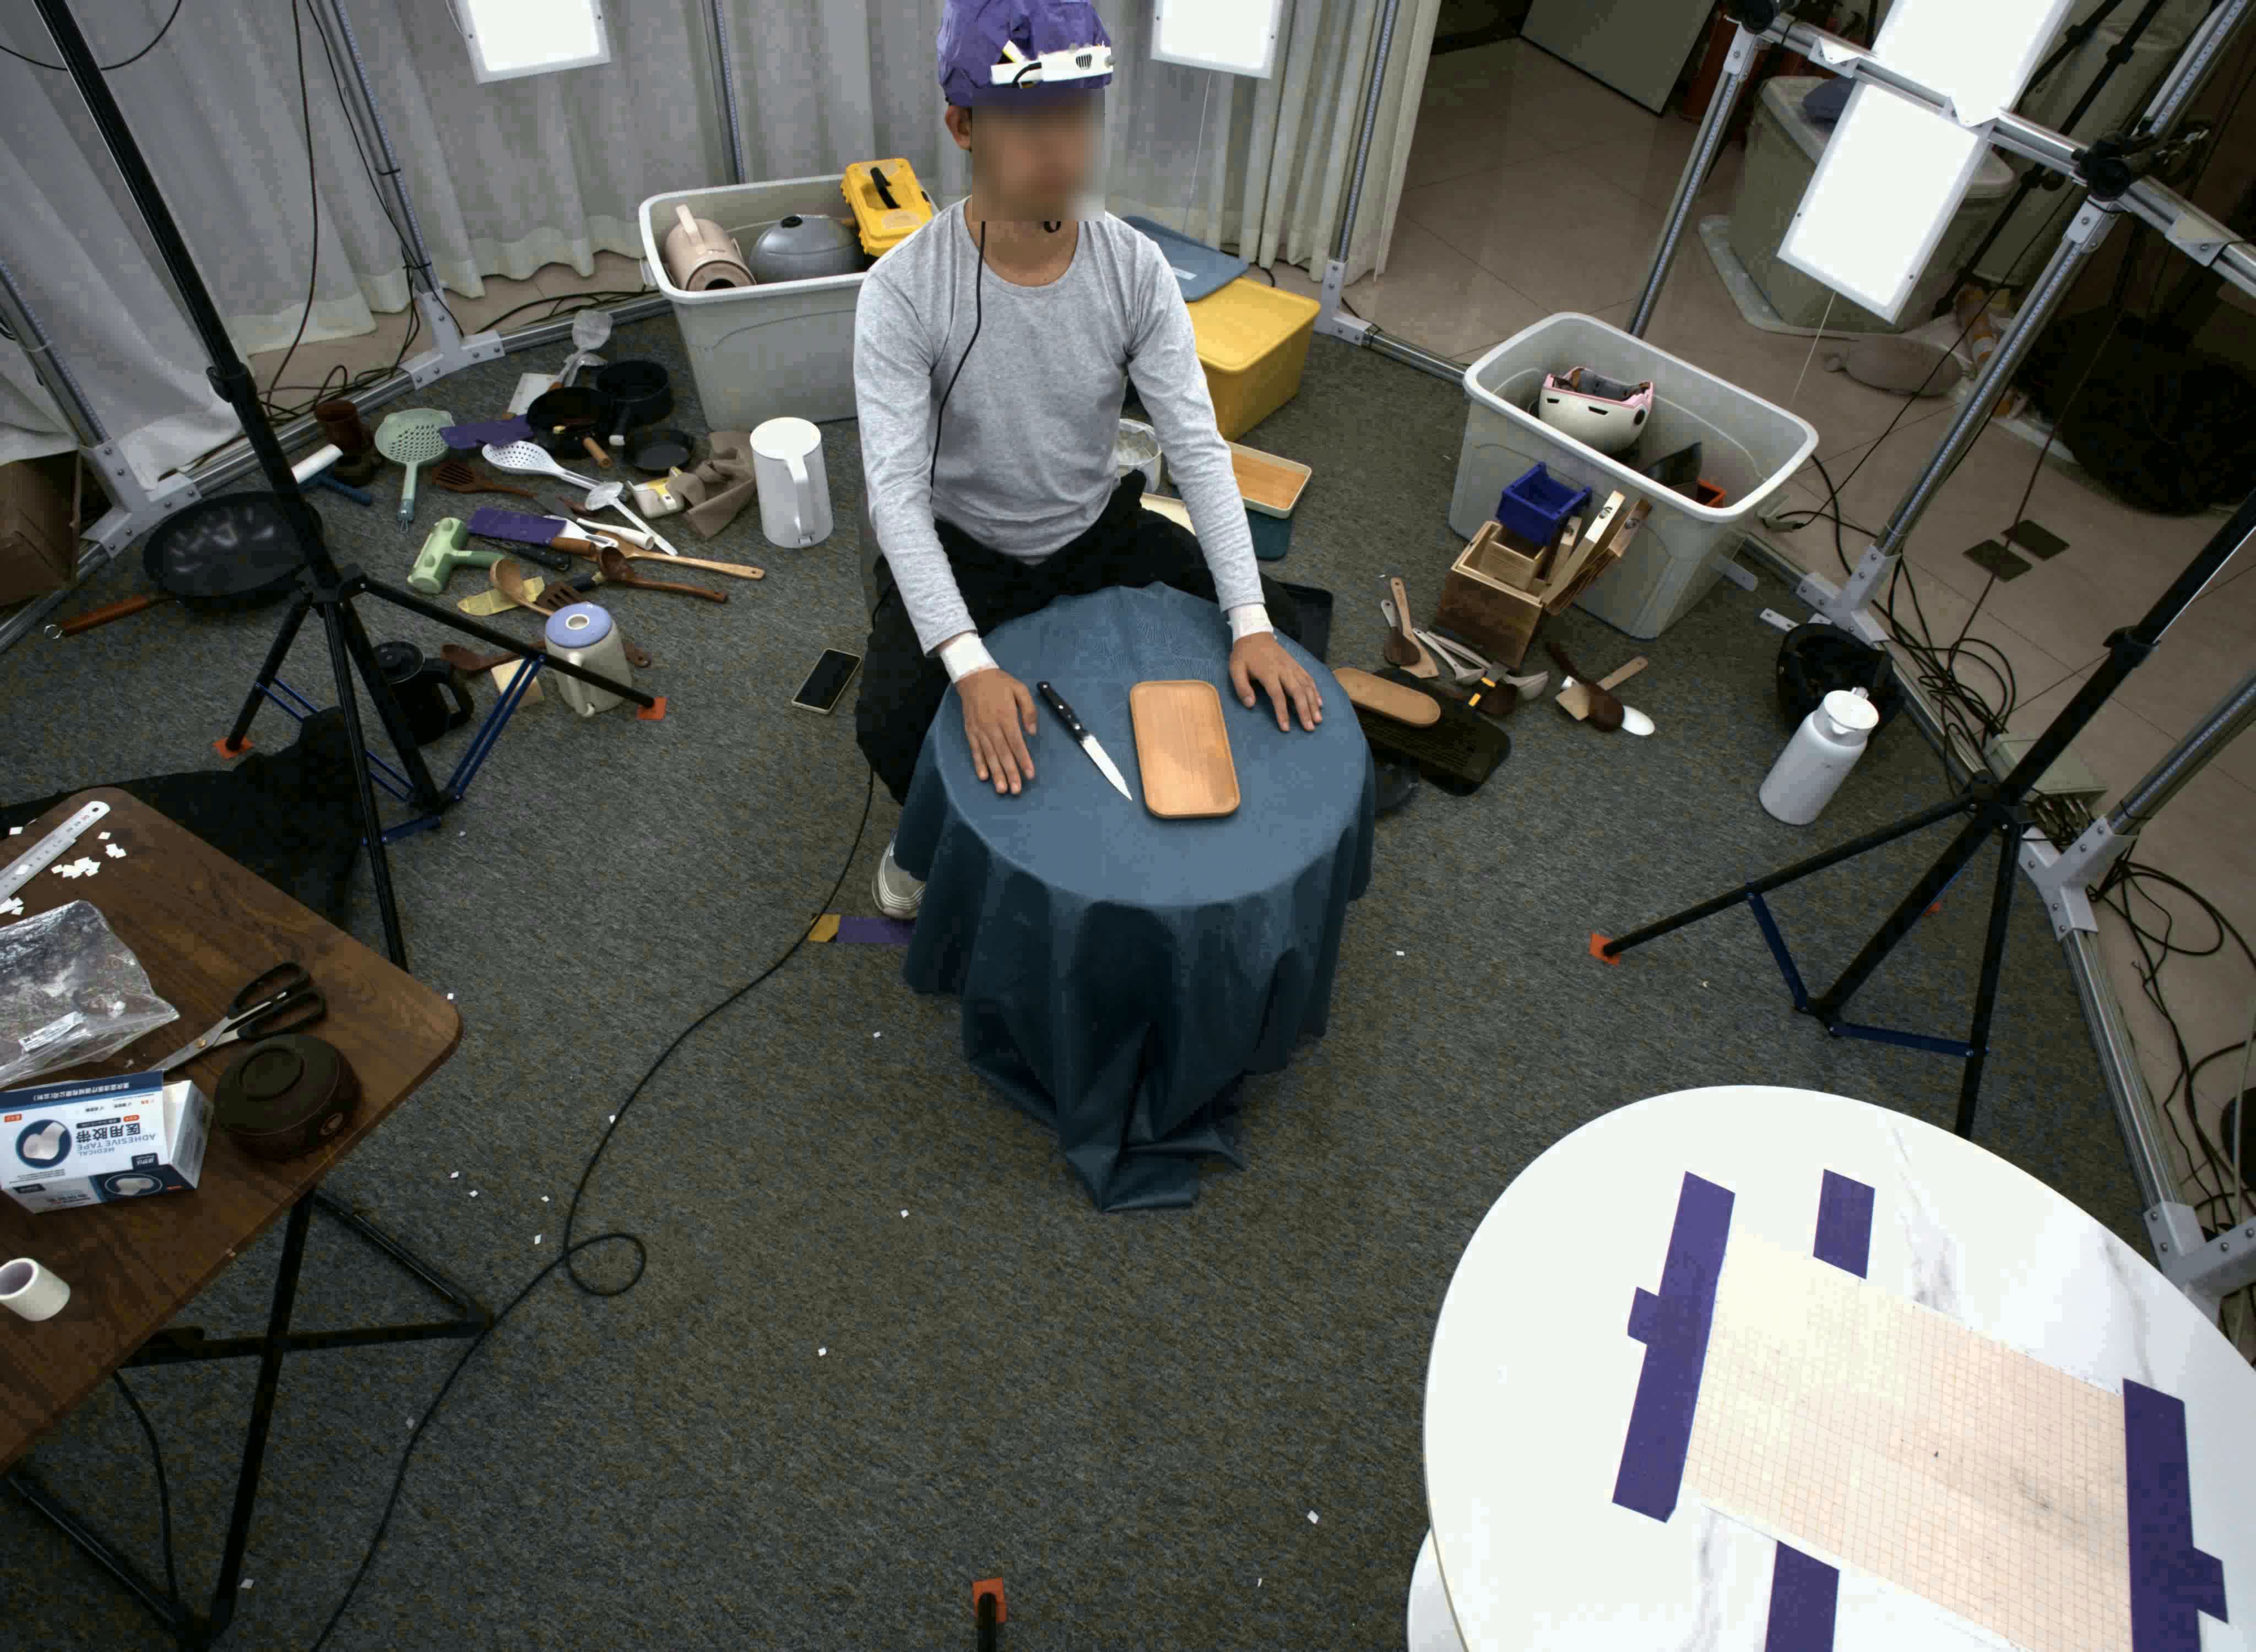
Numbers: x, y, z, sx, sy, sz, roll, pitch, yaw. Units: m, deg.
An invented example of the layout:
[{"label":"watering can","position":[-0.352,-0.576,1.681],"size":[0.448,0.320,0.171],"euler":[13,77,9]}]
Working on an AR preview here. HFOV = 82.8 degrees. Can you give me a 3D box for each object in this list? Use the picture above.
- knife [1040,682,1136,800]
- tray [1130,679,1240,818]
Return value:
[{"label":"knife","position":[-0.057,-0.117,1.758],"size":[0.024,0.016,0.243],"euler":[-24,57,-22]},{"label":"tray","position":[0.075,-0.109,1.756],"size":[0.130,0.022,0.257],"euler":[0,48,-7]}]
